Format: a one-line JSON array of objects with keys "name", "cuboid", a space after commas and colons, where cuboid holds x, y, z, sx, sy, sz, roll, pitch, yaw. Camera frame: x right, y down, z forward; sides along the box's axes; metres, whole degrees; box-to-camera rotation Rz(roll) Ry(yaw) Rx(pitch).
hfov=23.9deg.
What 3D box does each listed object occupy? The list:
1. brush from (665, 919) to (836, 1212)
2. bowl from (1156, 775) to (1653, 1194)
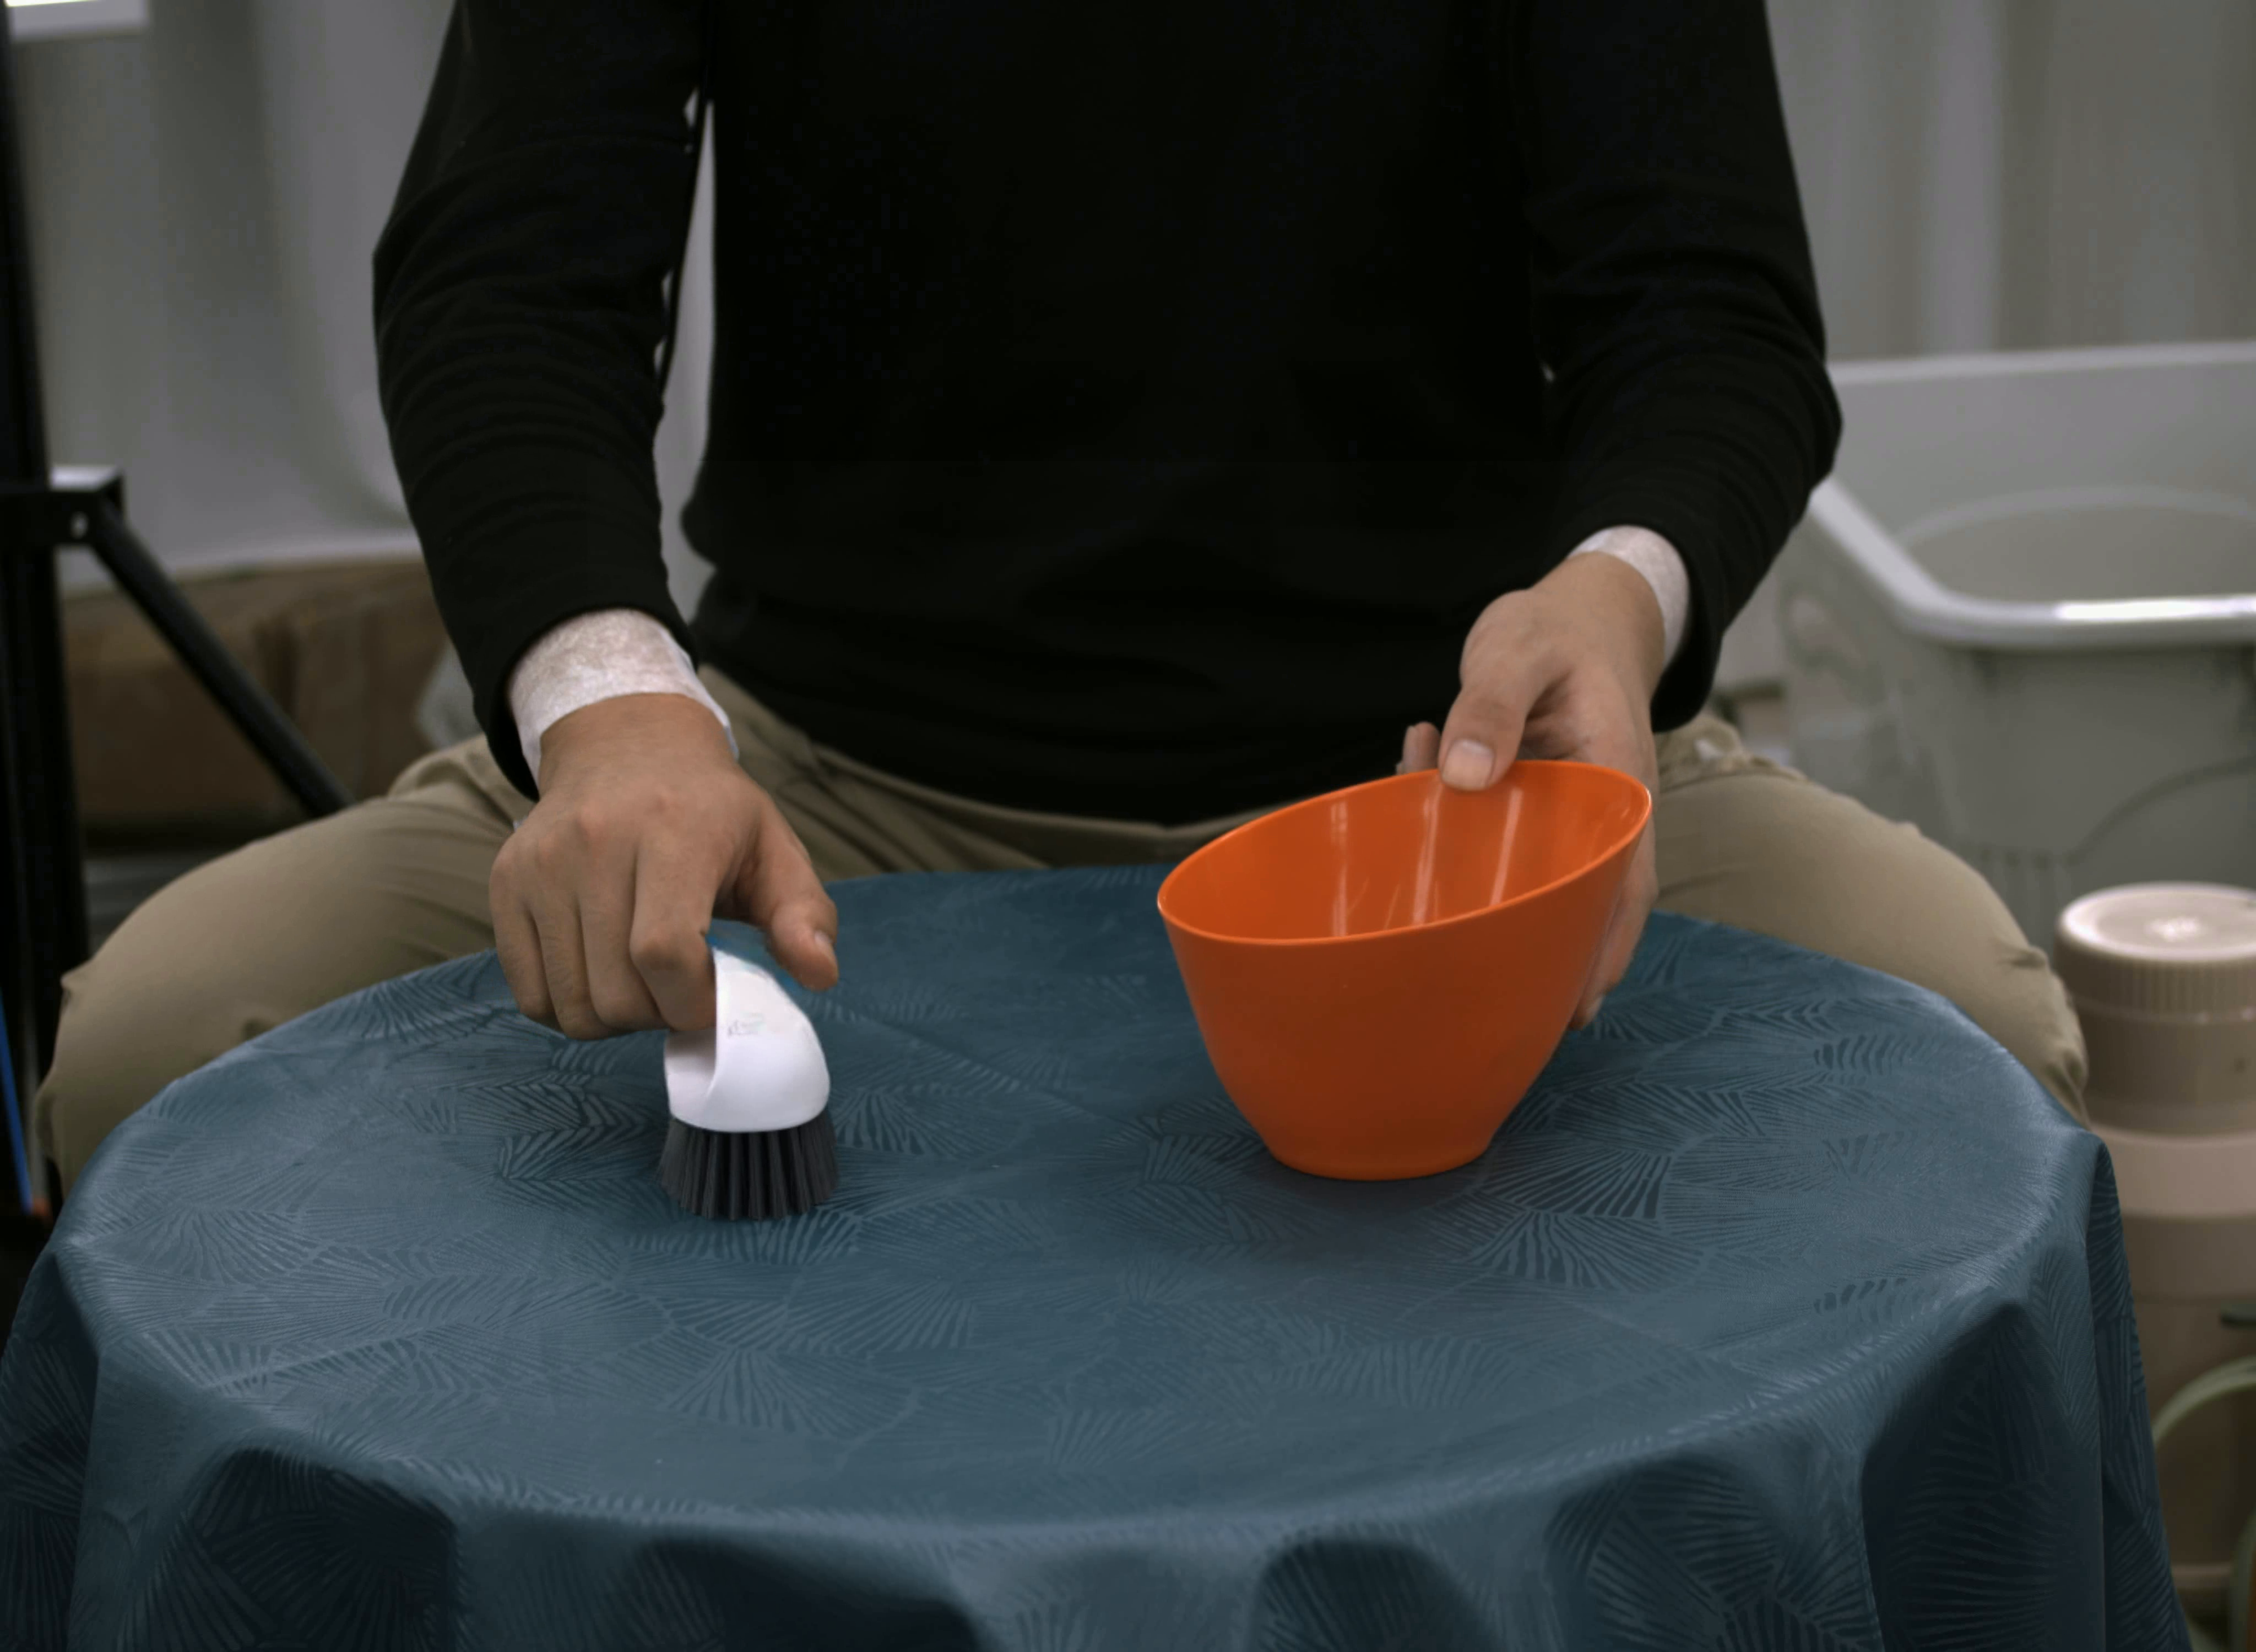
[{"name": "brush", "cuboid": [-0.114, 0.066, 1.588, 0.050, 0.072, 0.100, -4, 15, -2]}, {"name": "bowl", "cuboid": [0.083, 0.049, 1.572, 0.147, 0.104, 0.149, -4, 15, 0]}]
